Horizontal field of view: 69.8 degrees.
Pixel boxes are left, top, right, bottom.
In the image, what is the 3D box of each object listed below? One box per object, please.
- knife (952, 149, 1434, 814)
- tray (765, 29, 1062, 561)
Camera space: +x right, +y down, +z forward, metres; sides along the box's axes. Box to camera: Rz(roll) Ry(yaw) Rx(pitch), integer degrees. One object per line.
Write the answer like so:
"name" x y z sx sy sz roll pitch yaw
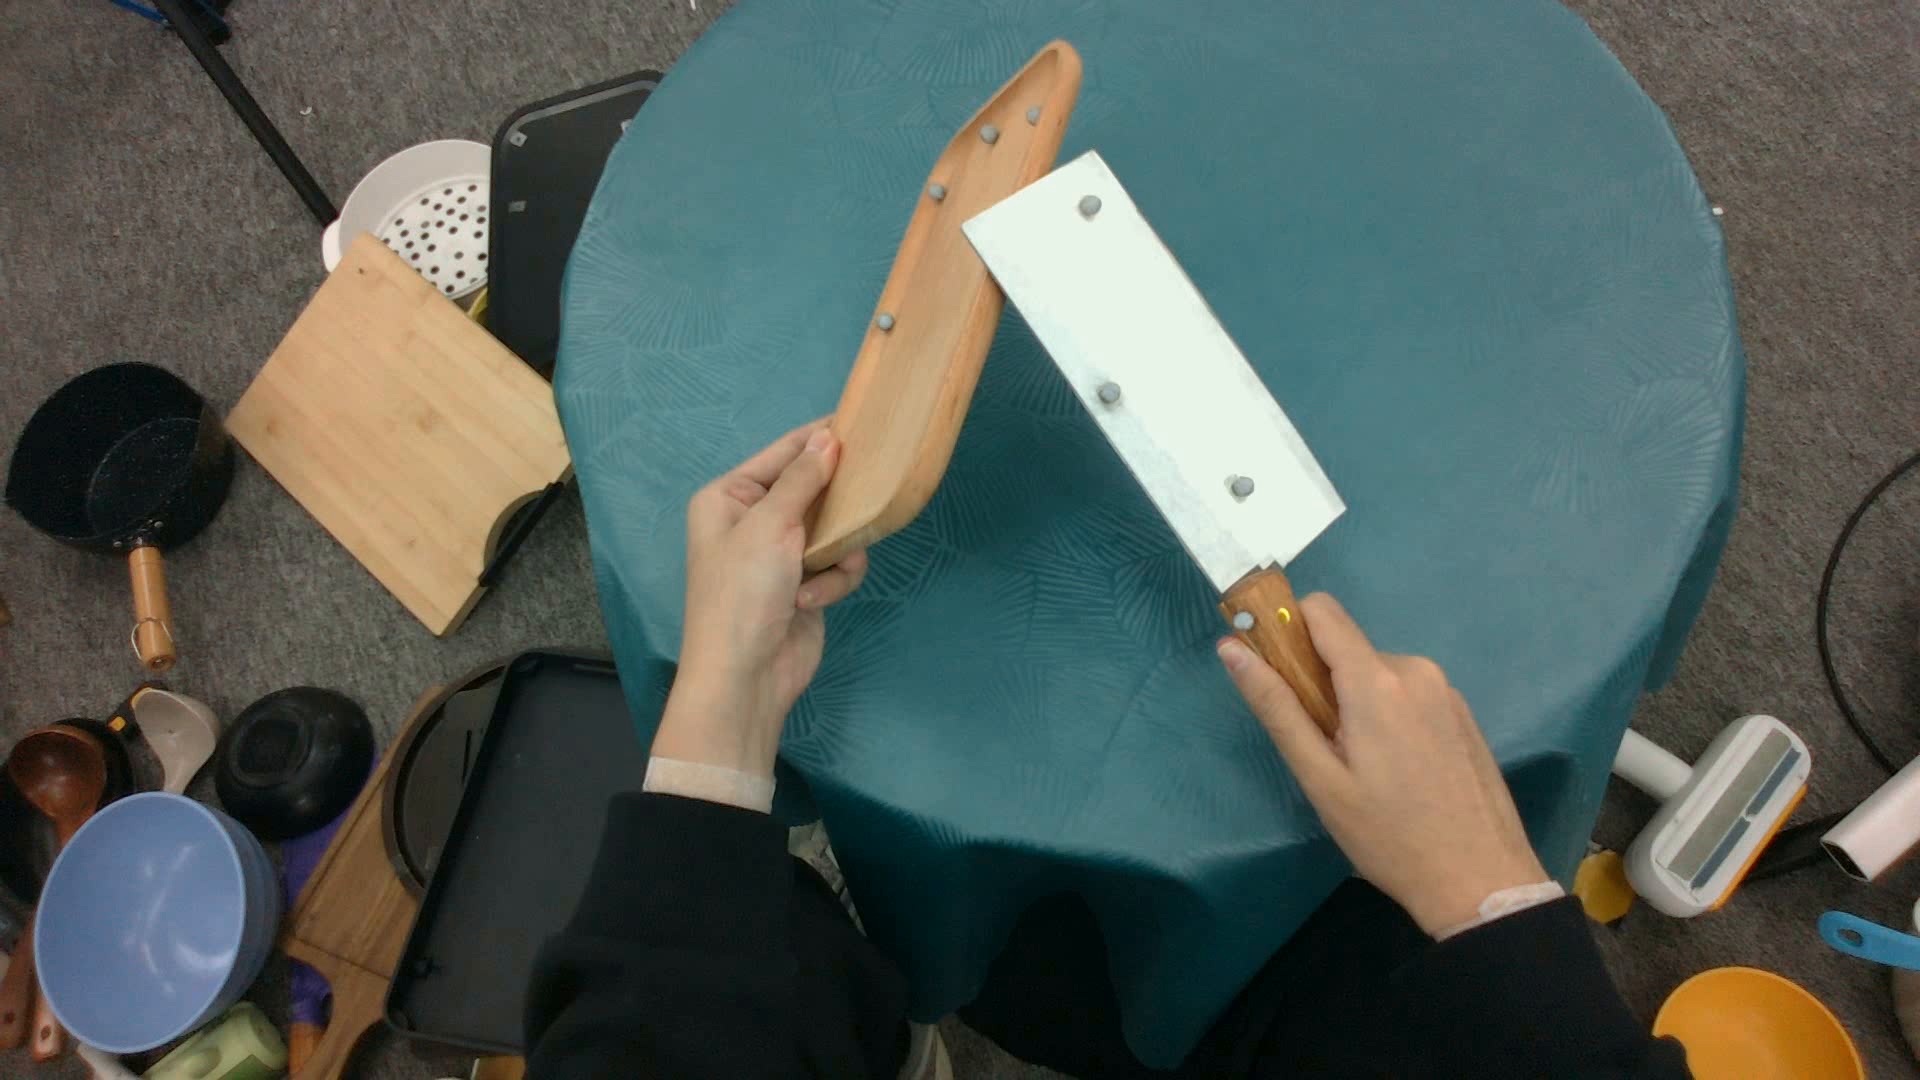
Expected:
"knife" 0.112 -0.030 0.573 0.093 0.021 0.305 -38 93 -34
"tray" -0.019 -0.108 0.605 0.023 0.130 0.251 26 65 -20
